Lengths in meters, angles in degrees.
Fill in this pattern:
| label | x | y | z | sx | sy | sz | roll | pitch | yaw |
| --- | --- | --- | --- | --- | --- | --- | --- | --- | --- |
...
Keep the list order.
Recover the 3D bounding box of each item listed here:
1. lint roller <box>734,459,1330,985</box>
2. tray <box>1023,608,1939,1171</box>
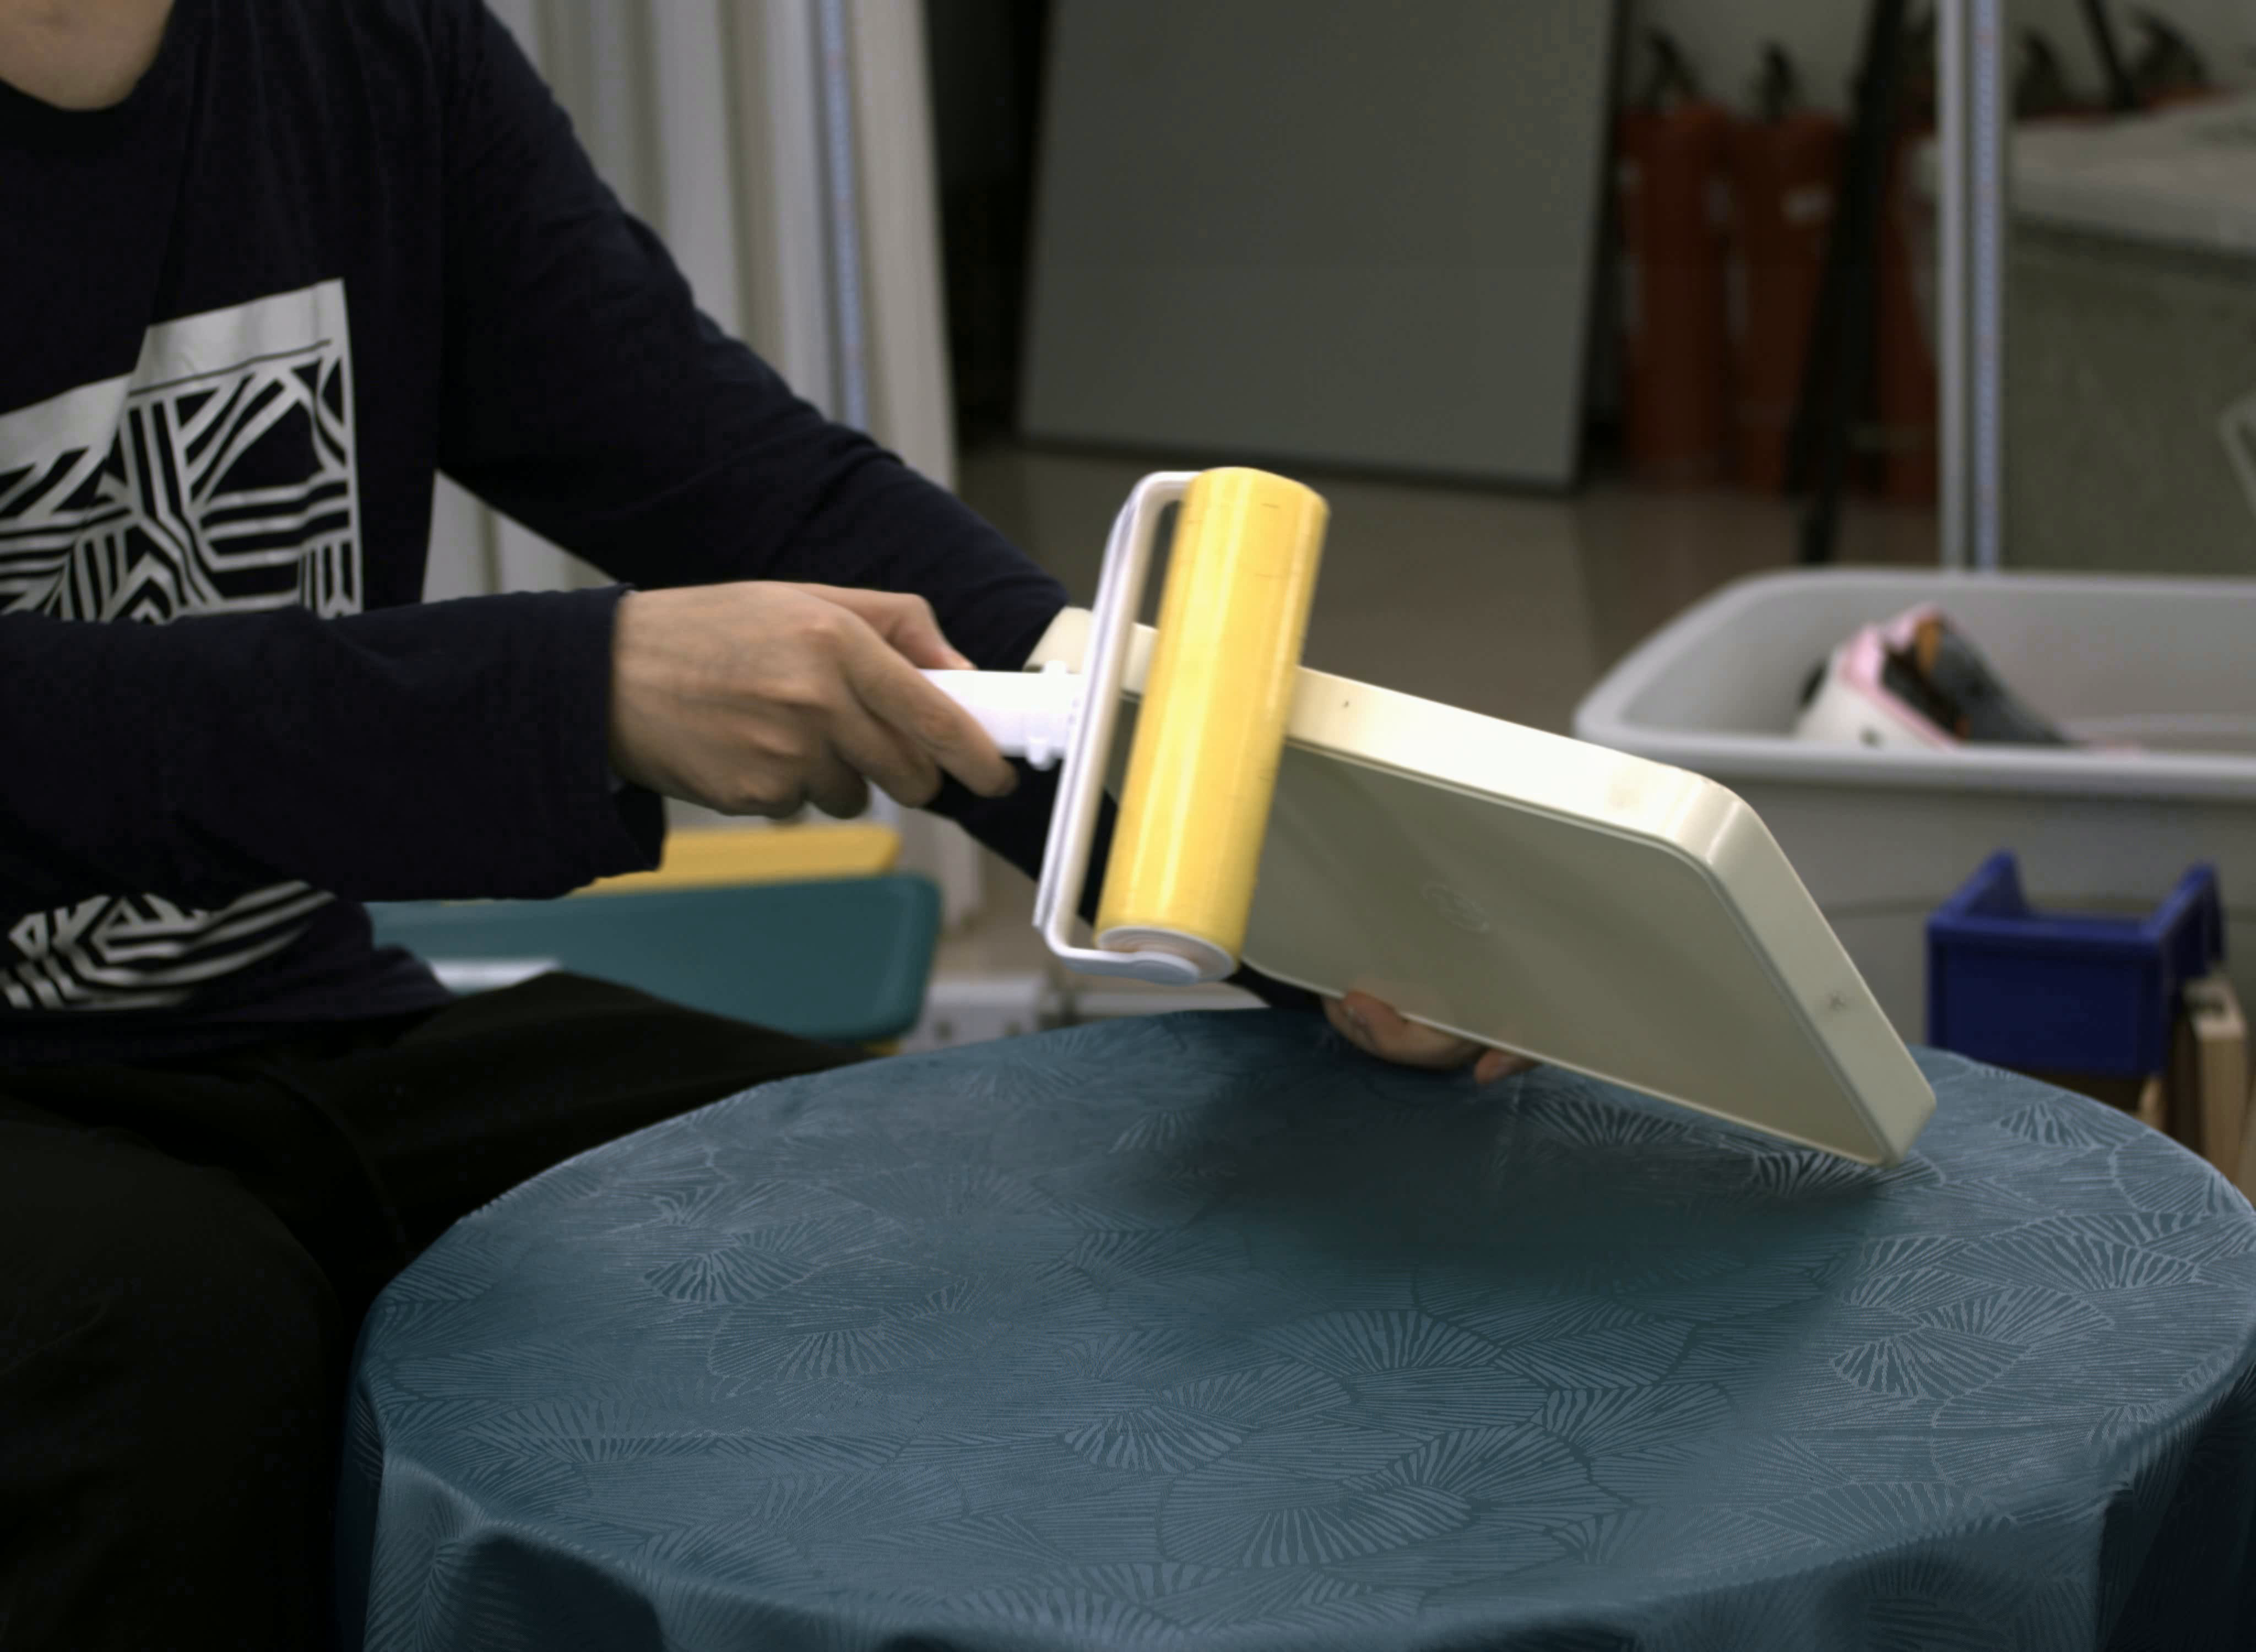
| label | x | y | z | sx | sy | sz | roll | pitch | yaw |
| --- | --- | --- | --- | --- | --- | --- | --- | --- | --- |
| lint roller | -0.039 | -0.038 | 1.727 | 0.191 | 0.176 | 0.051 | 4 | -24 | 14 |
| tray | 0.112 | 0.020 | 1.769 | 0.303 | 0.190 | 0.027 | 16 | 62 | 43 |
